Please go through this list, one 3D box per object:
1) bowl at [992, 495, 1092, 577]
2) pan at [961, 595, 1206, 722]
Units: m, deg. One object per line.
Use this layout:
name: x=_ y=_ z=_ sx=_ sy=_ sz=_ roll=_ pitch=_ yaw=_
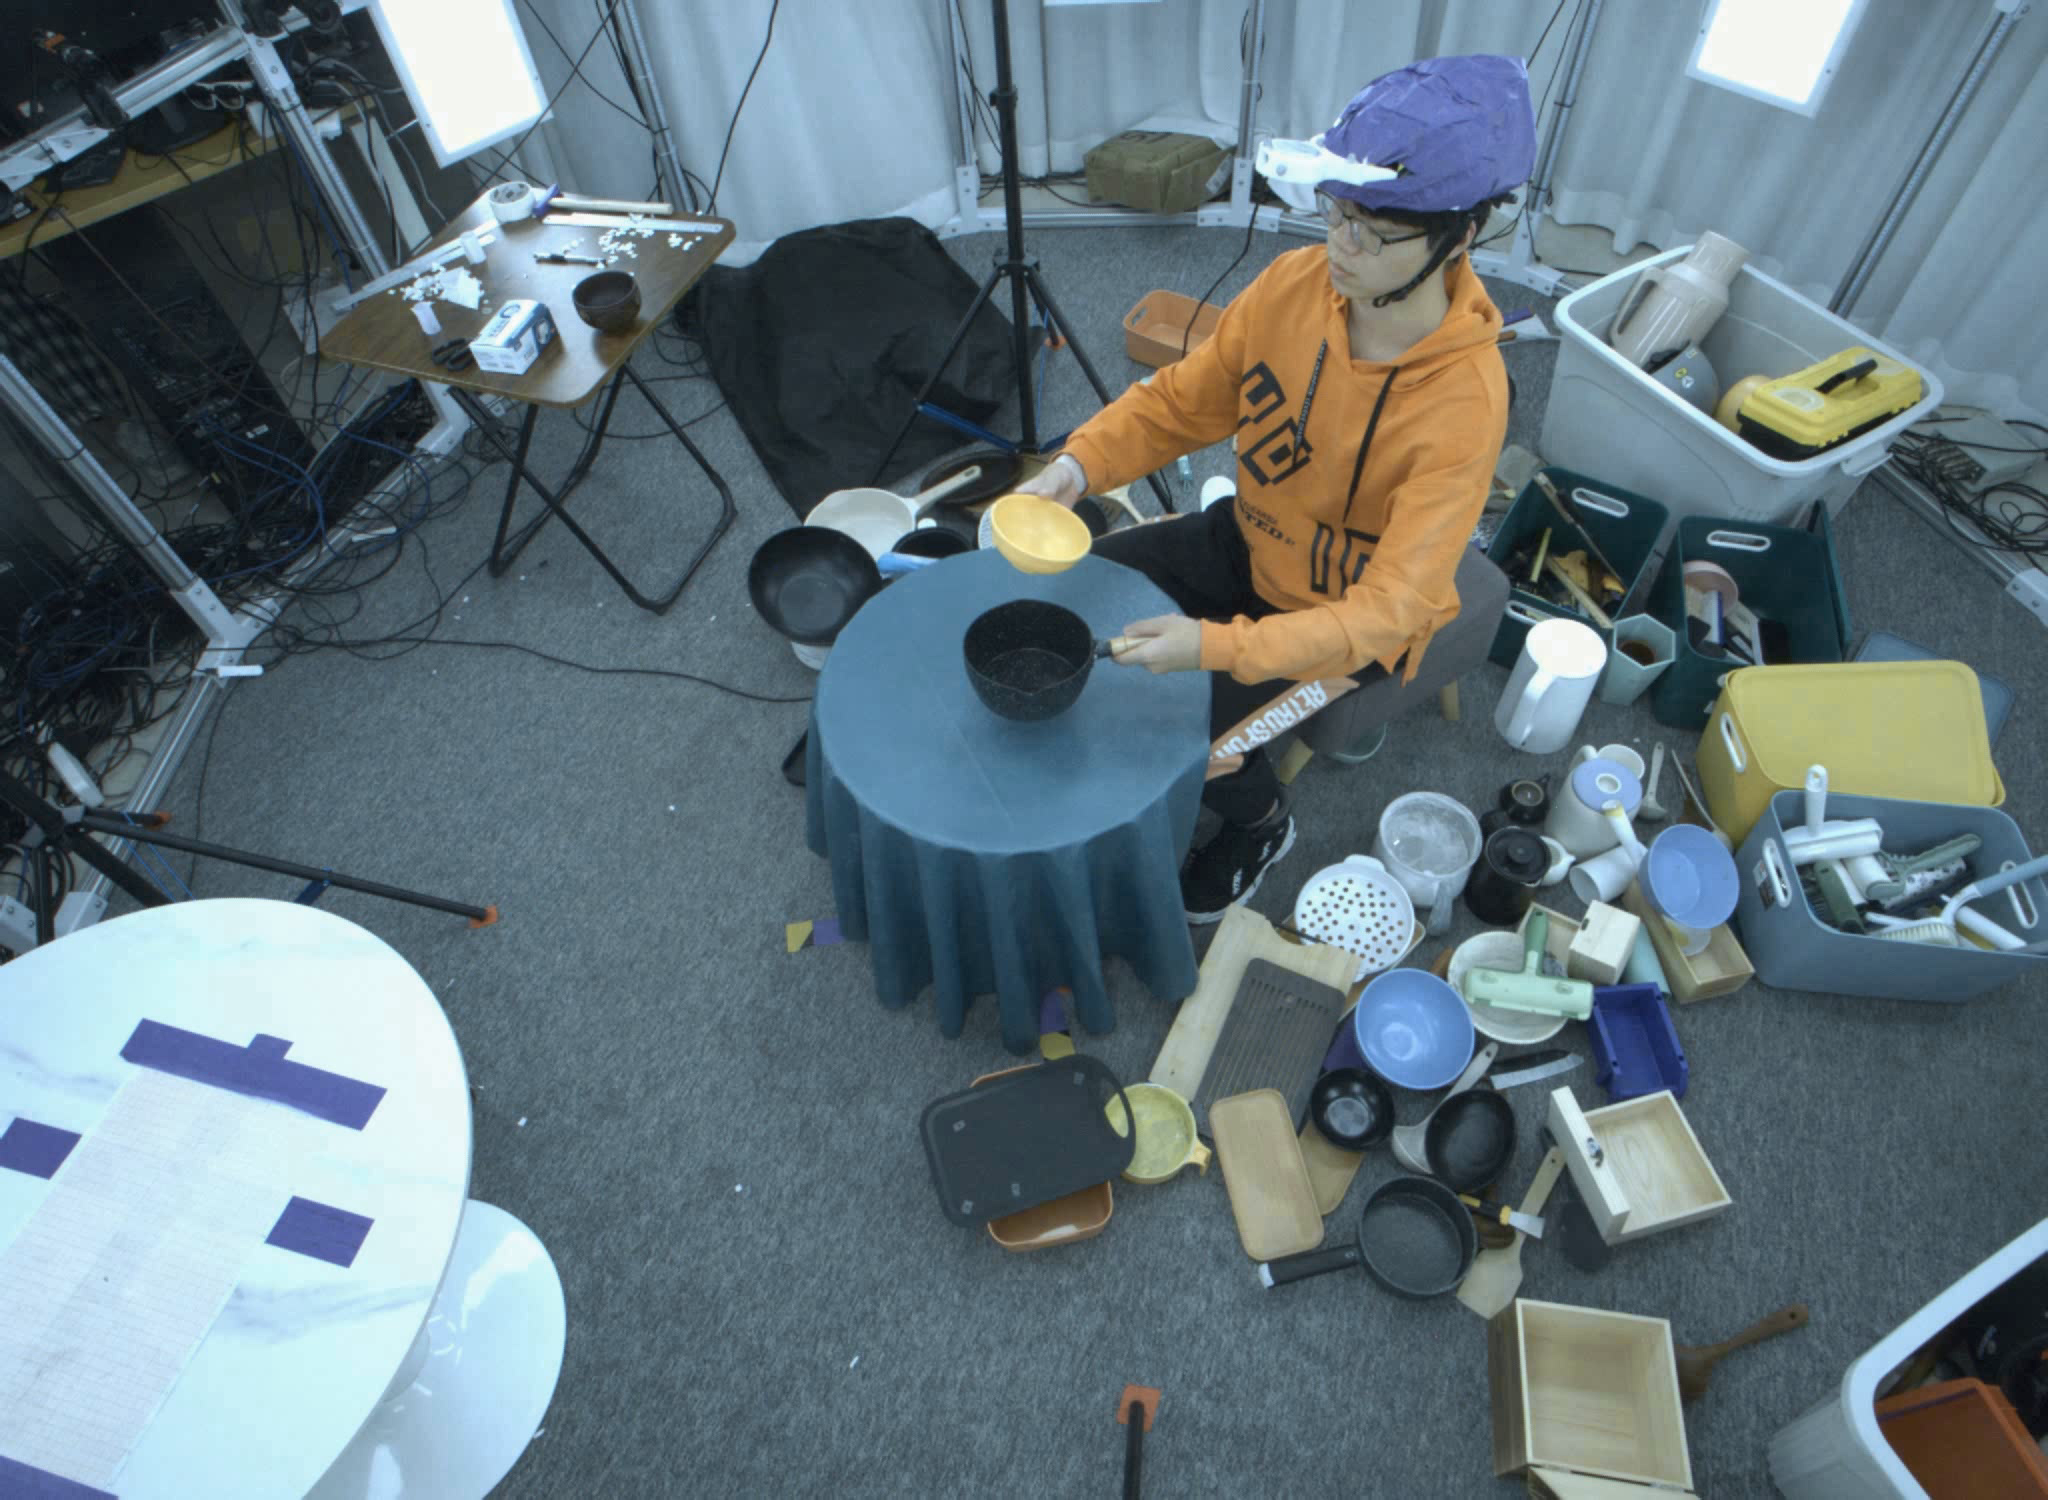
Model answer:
bowl: x=0.016 y=-0.281 z=1.681 sx=0.147 sy=0.060 sz=0.144 roll=15 pitch=44 yaw=-14
pan: x=0.084 y=-0.135 z=1.749 sx=0.343 sy=0.109 sz=0.205 roll=-4 pitch=48 yaw=-2
